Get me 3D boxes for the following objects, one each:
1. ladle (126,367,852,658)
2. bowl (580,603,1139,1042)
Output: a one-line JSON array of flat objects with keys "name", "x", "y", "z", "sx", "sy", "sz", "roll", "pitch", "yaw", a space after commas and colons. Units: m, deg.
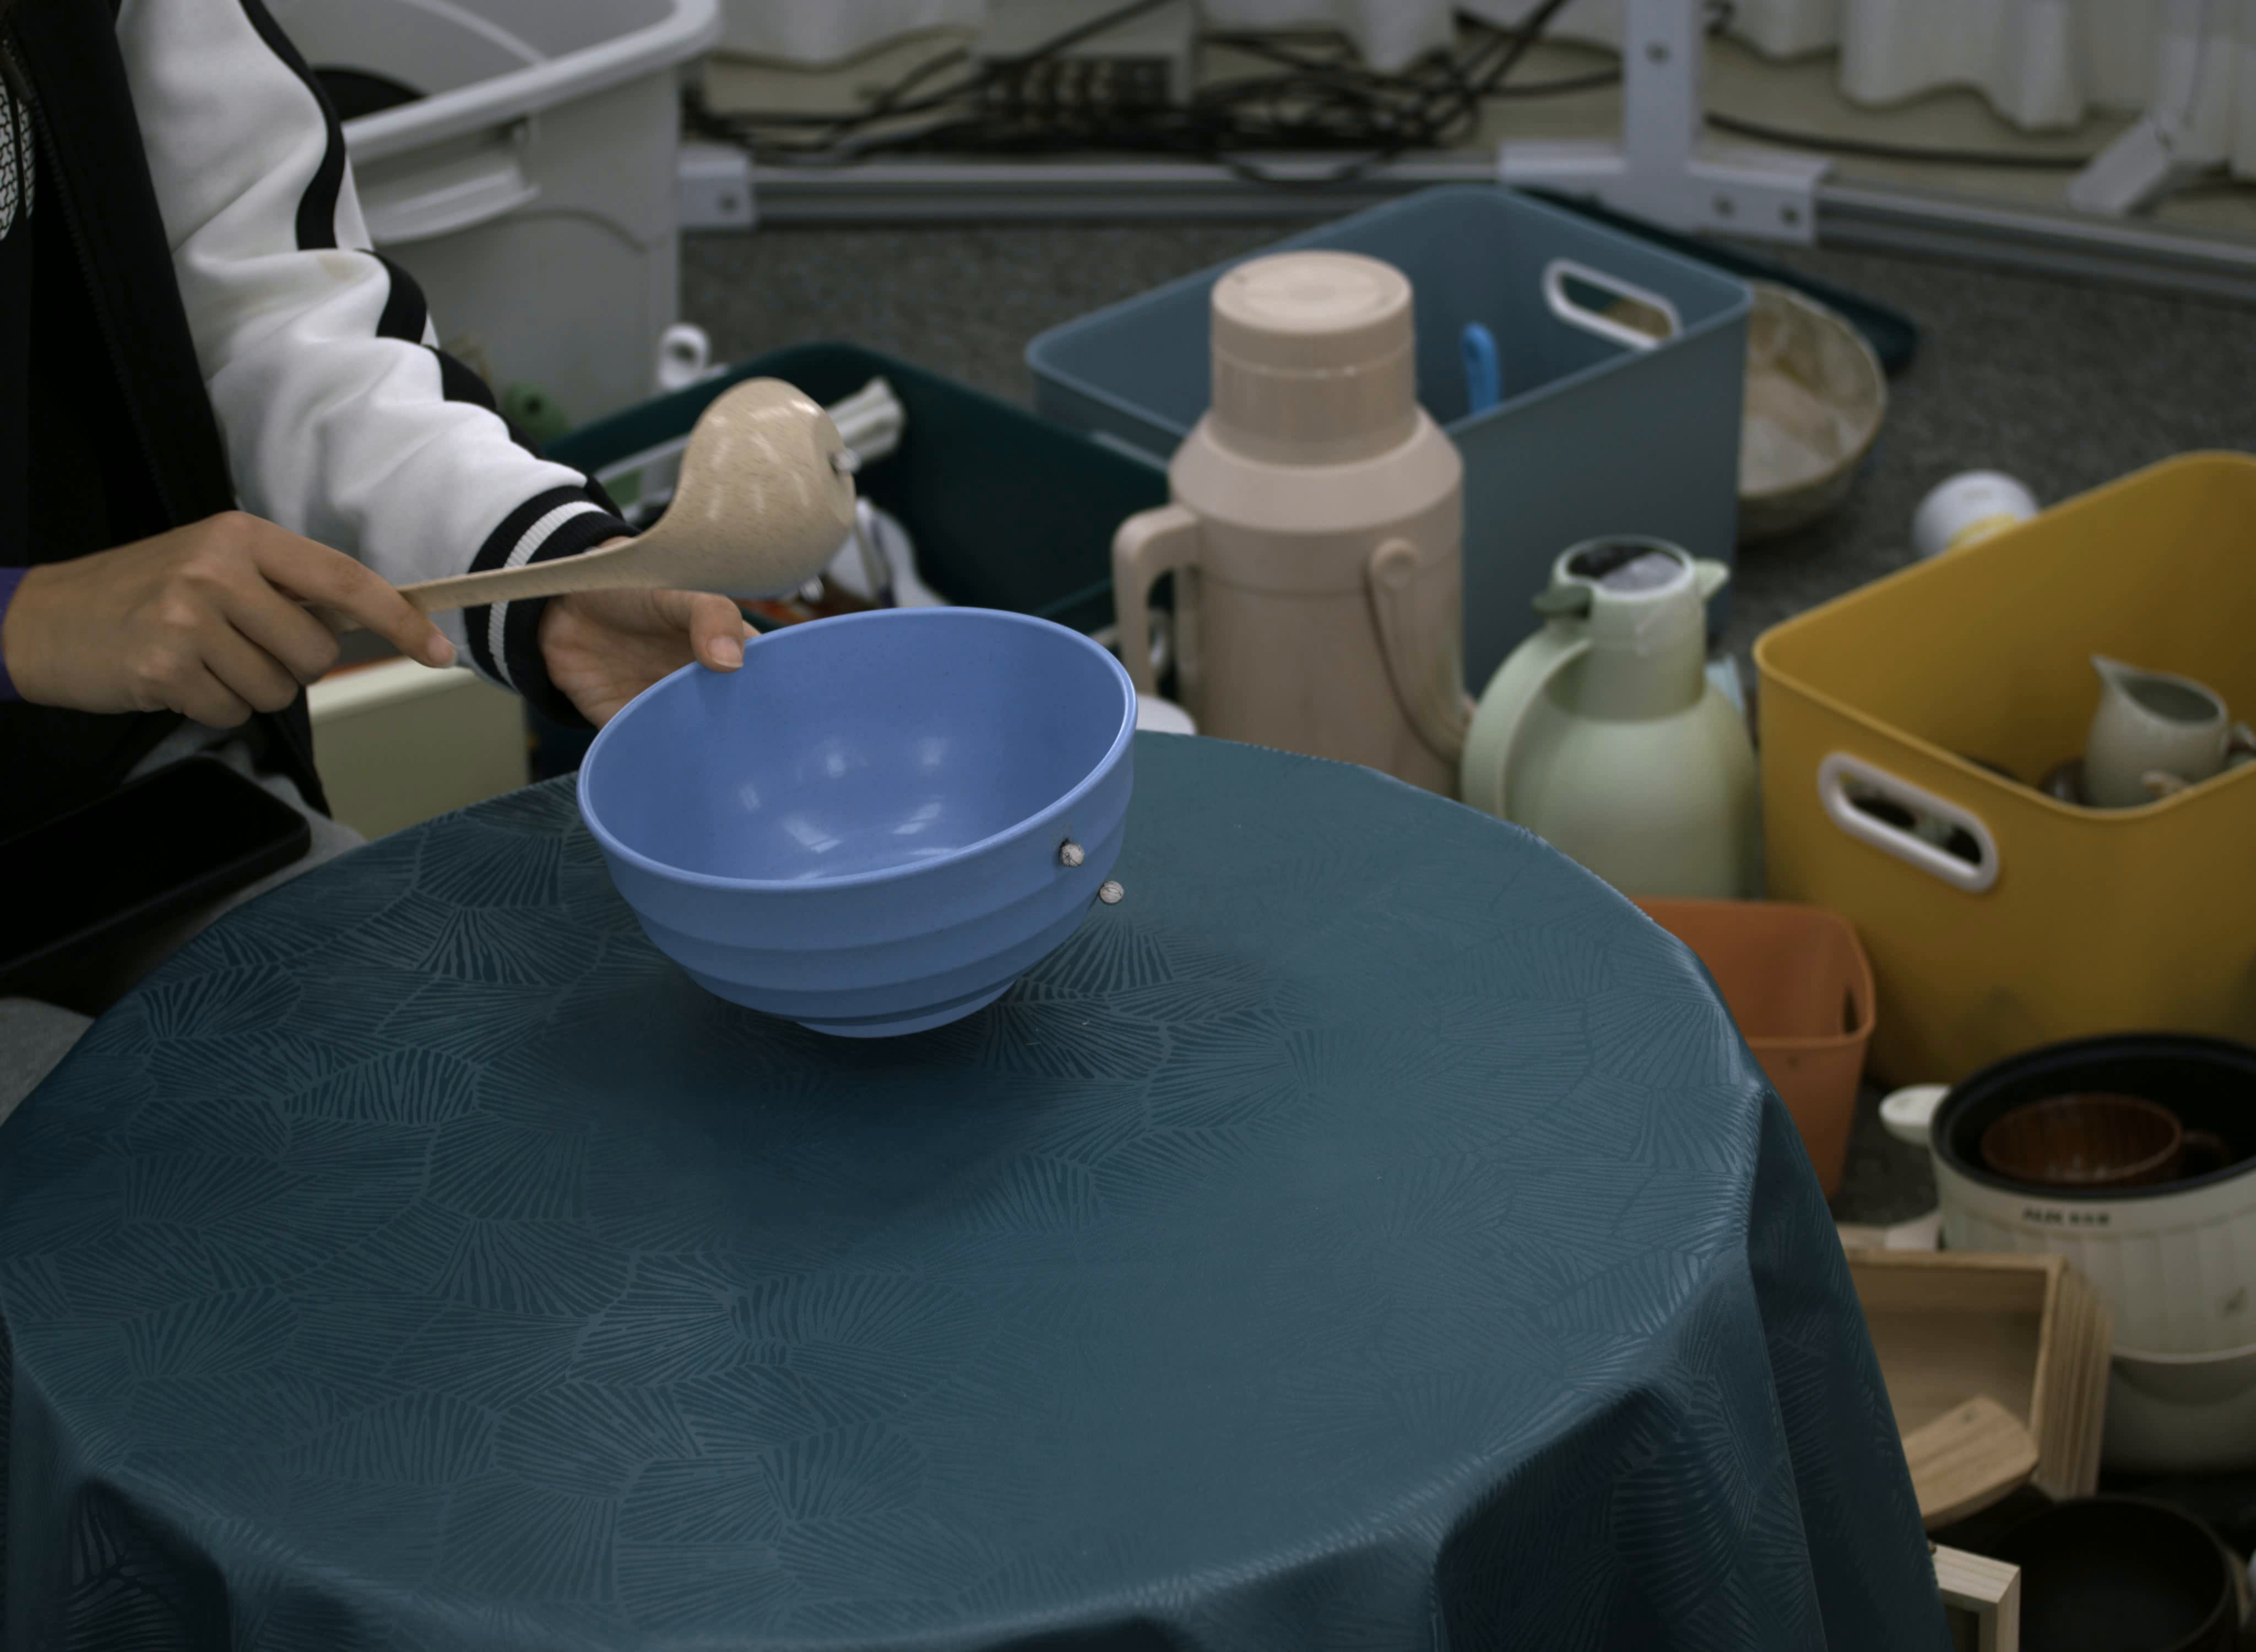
[{"name": "ladle", "x": -0.216, "y": -0.101, "z": 1.903, "sx": 0.252, "sy": 0.071, "sz": 0.074, "roll": -9, "pitch": 37, "yaw": 17}, {"name": "bowl", "x": -0.086, "y": 0.012, "z": 1.957, "sx": 0.195, "sy": 0.094, "sz": 0.200, "roll": -7, "pitch": 29, "yaw": 5}]
